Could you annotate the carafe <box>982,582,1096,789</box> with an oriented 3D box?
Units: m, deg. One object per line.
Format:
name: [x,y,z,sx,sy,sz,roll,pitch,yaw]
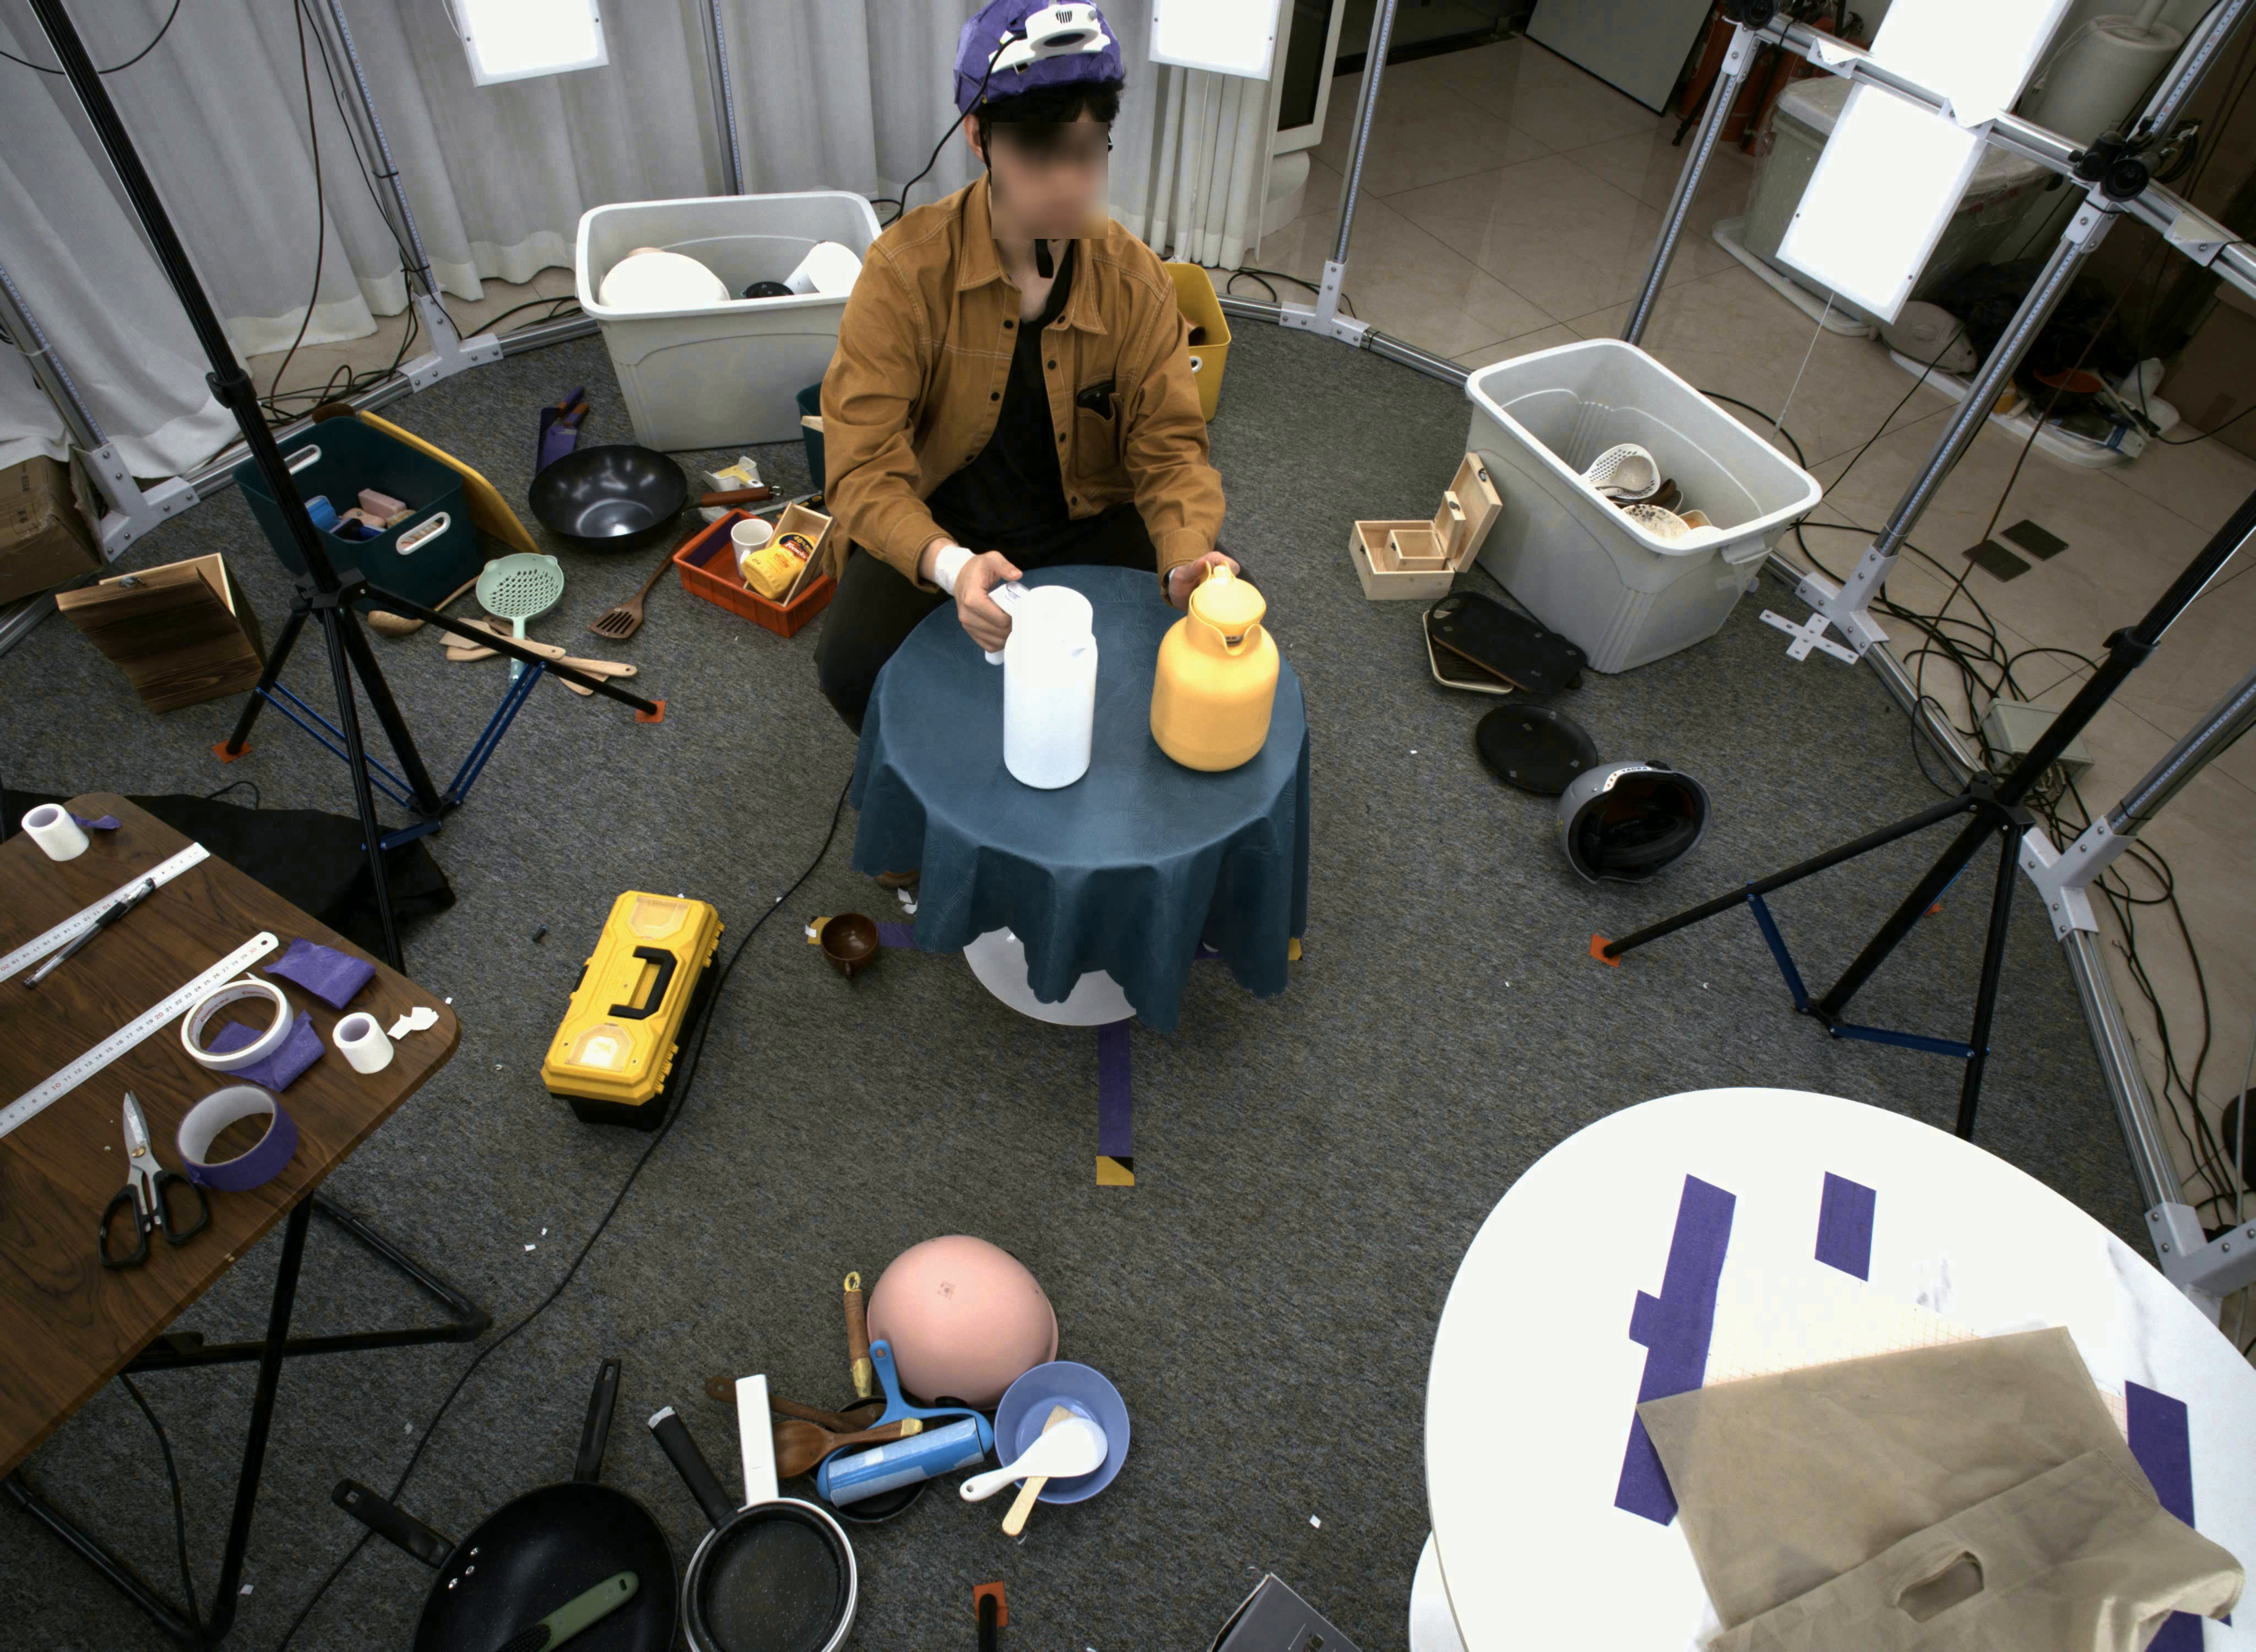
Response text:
carafe: [-0.116,-0.183,1.648,0.175,0.262,0.125,35,57,24]

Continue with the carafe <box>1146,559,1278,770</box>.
carafe: [0.115,-0.221,1.698,0.163,0.254,0.207,2,51,-6]
